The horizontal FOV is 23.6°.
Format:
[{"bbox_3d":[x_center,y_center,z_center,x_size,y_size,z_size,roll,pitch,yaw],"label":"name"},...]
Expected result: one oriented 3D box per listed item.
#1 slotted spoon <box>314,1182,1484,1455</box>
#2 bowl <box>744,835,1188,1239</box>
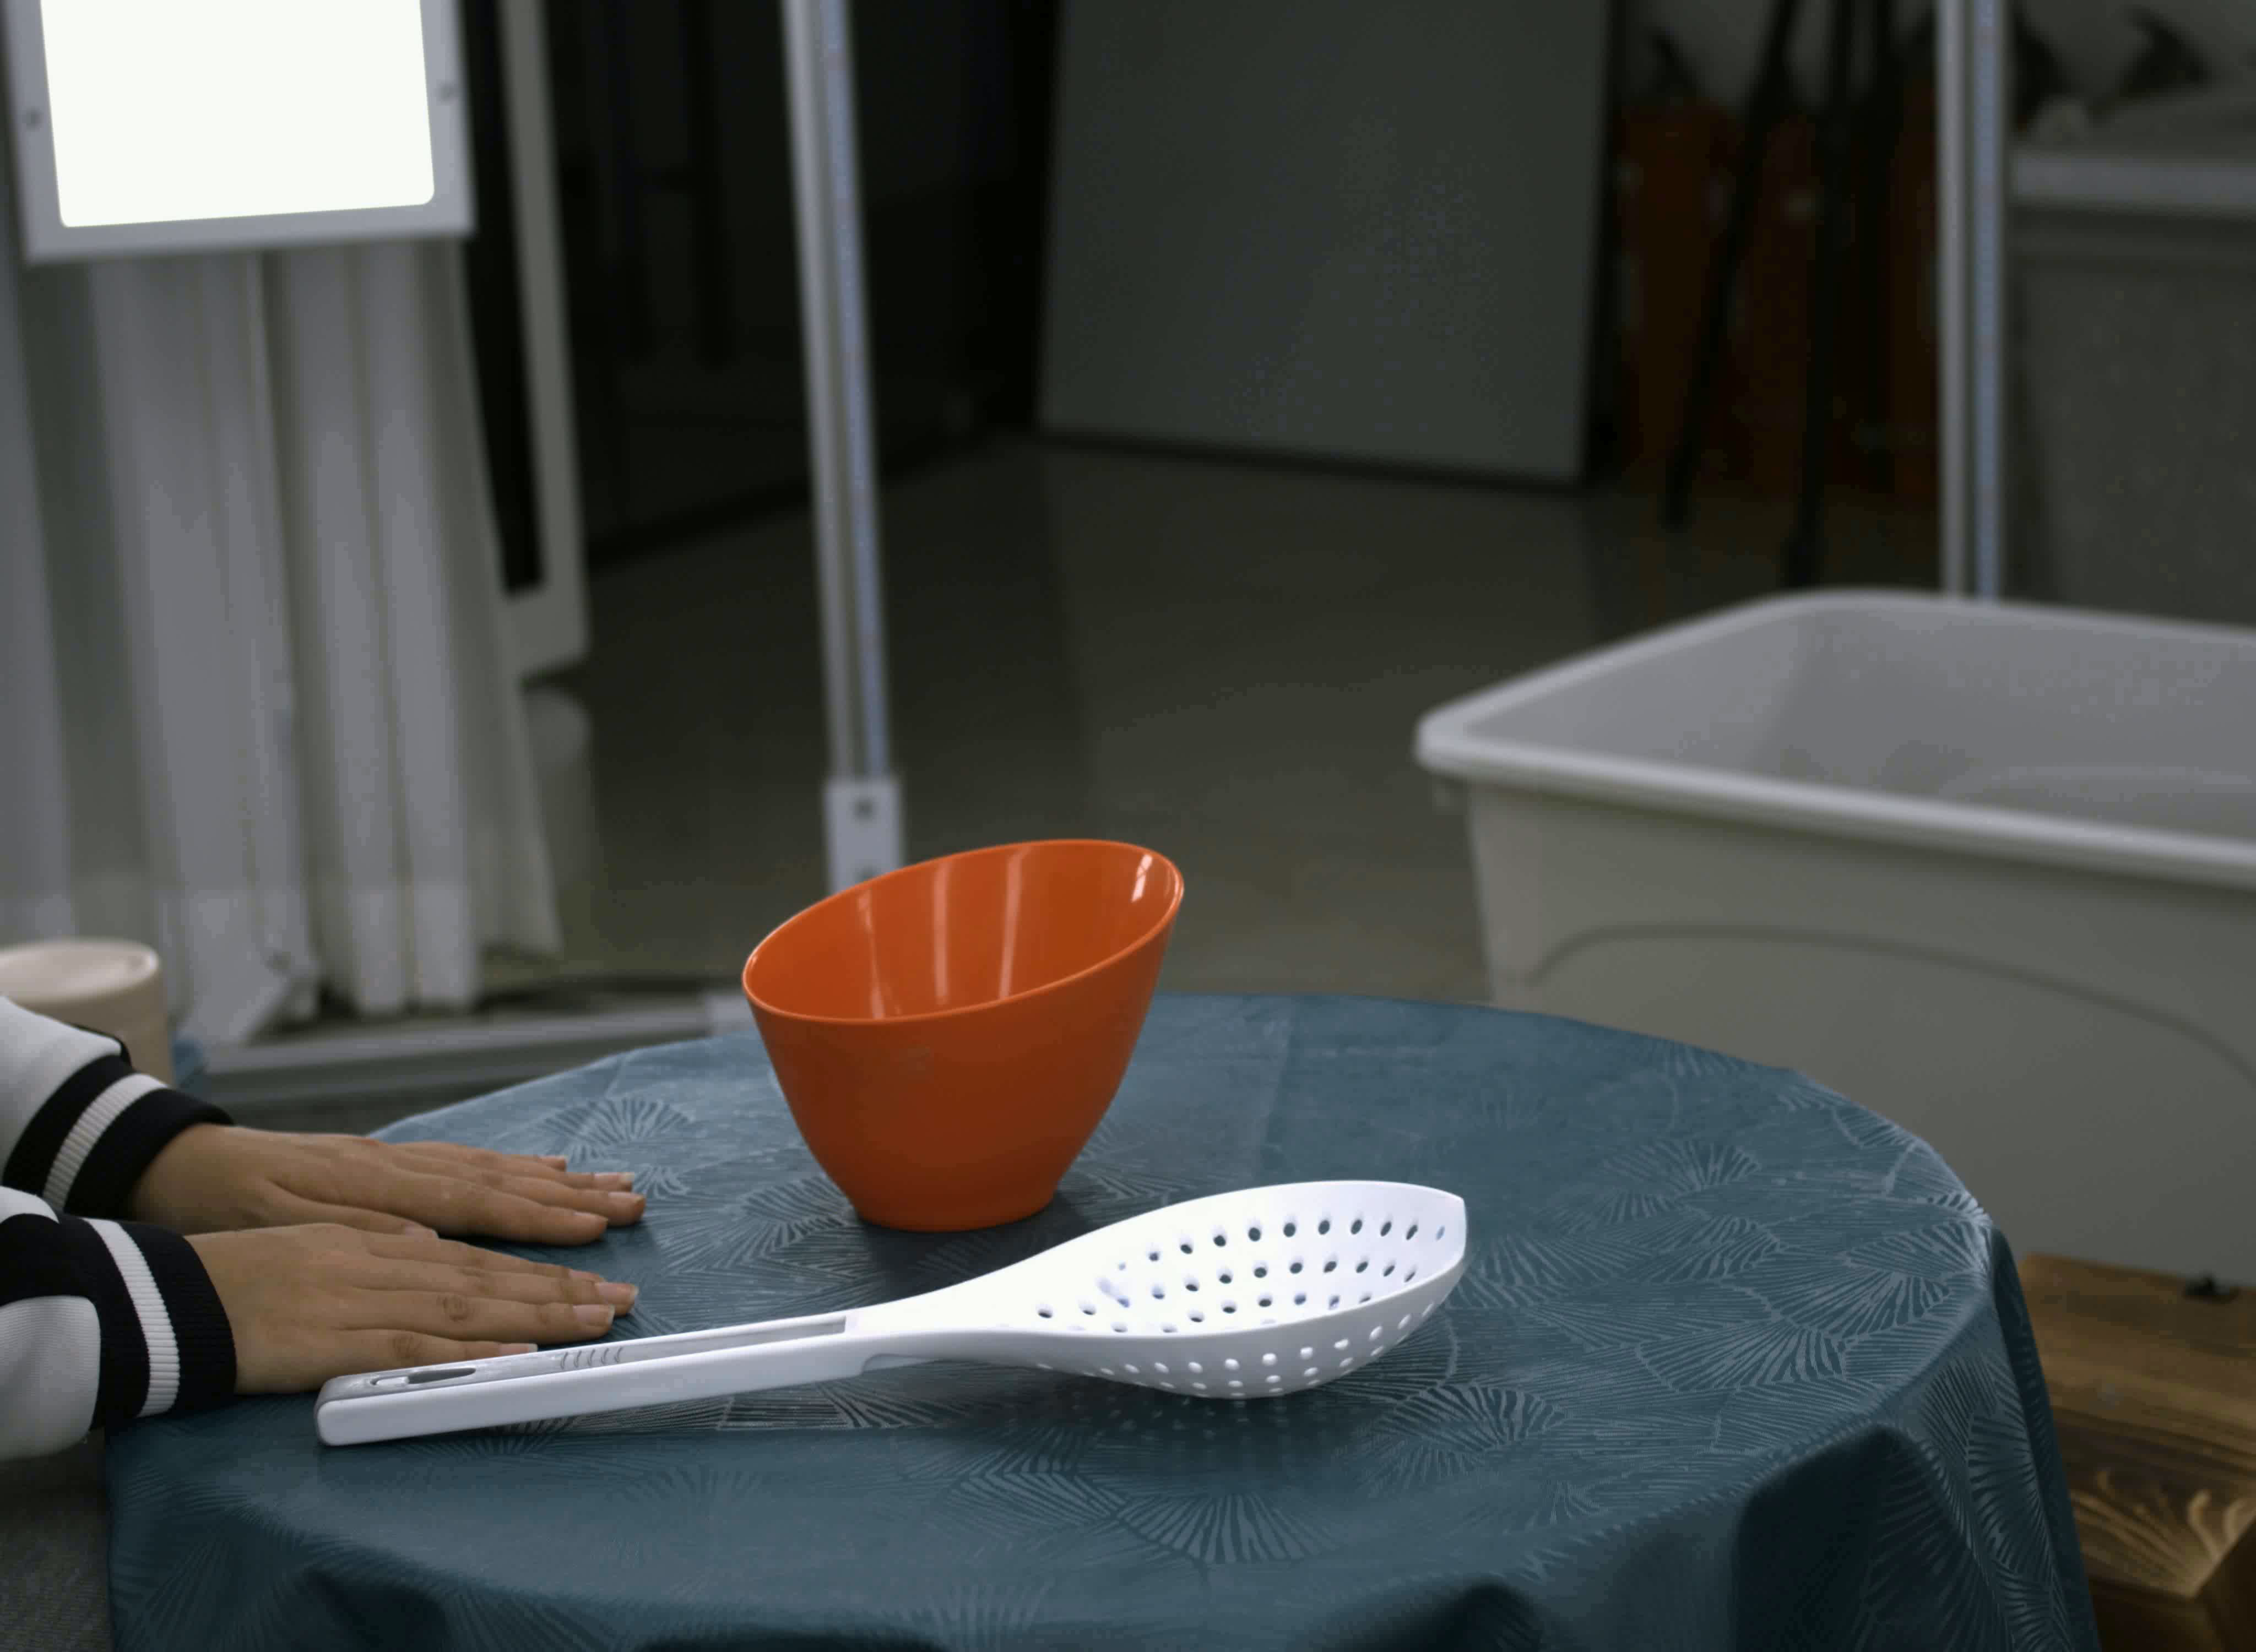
[{"bbox_3d":[-0.067,0.149,1.582,0.345,0.046,0.136,-4,12,2],"label":"slotted spoon"},{"bbox_3d":[-0.050,0.072,1.765,0.146,0.106,0.148,-3,17,0],"label":"bowl"}]
